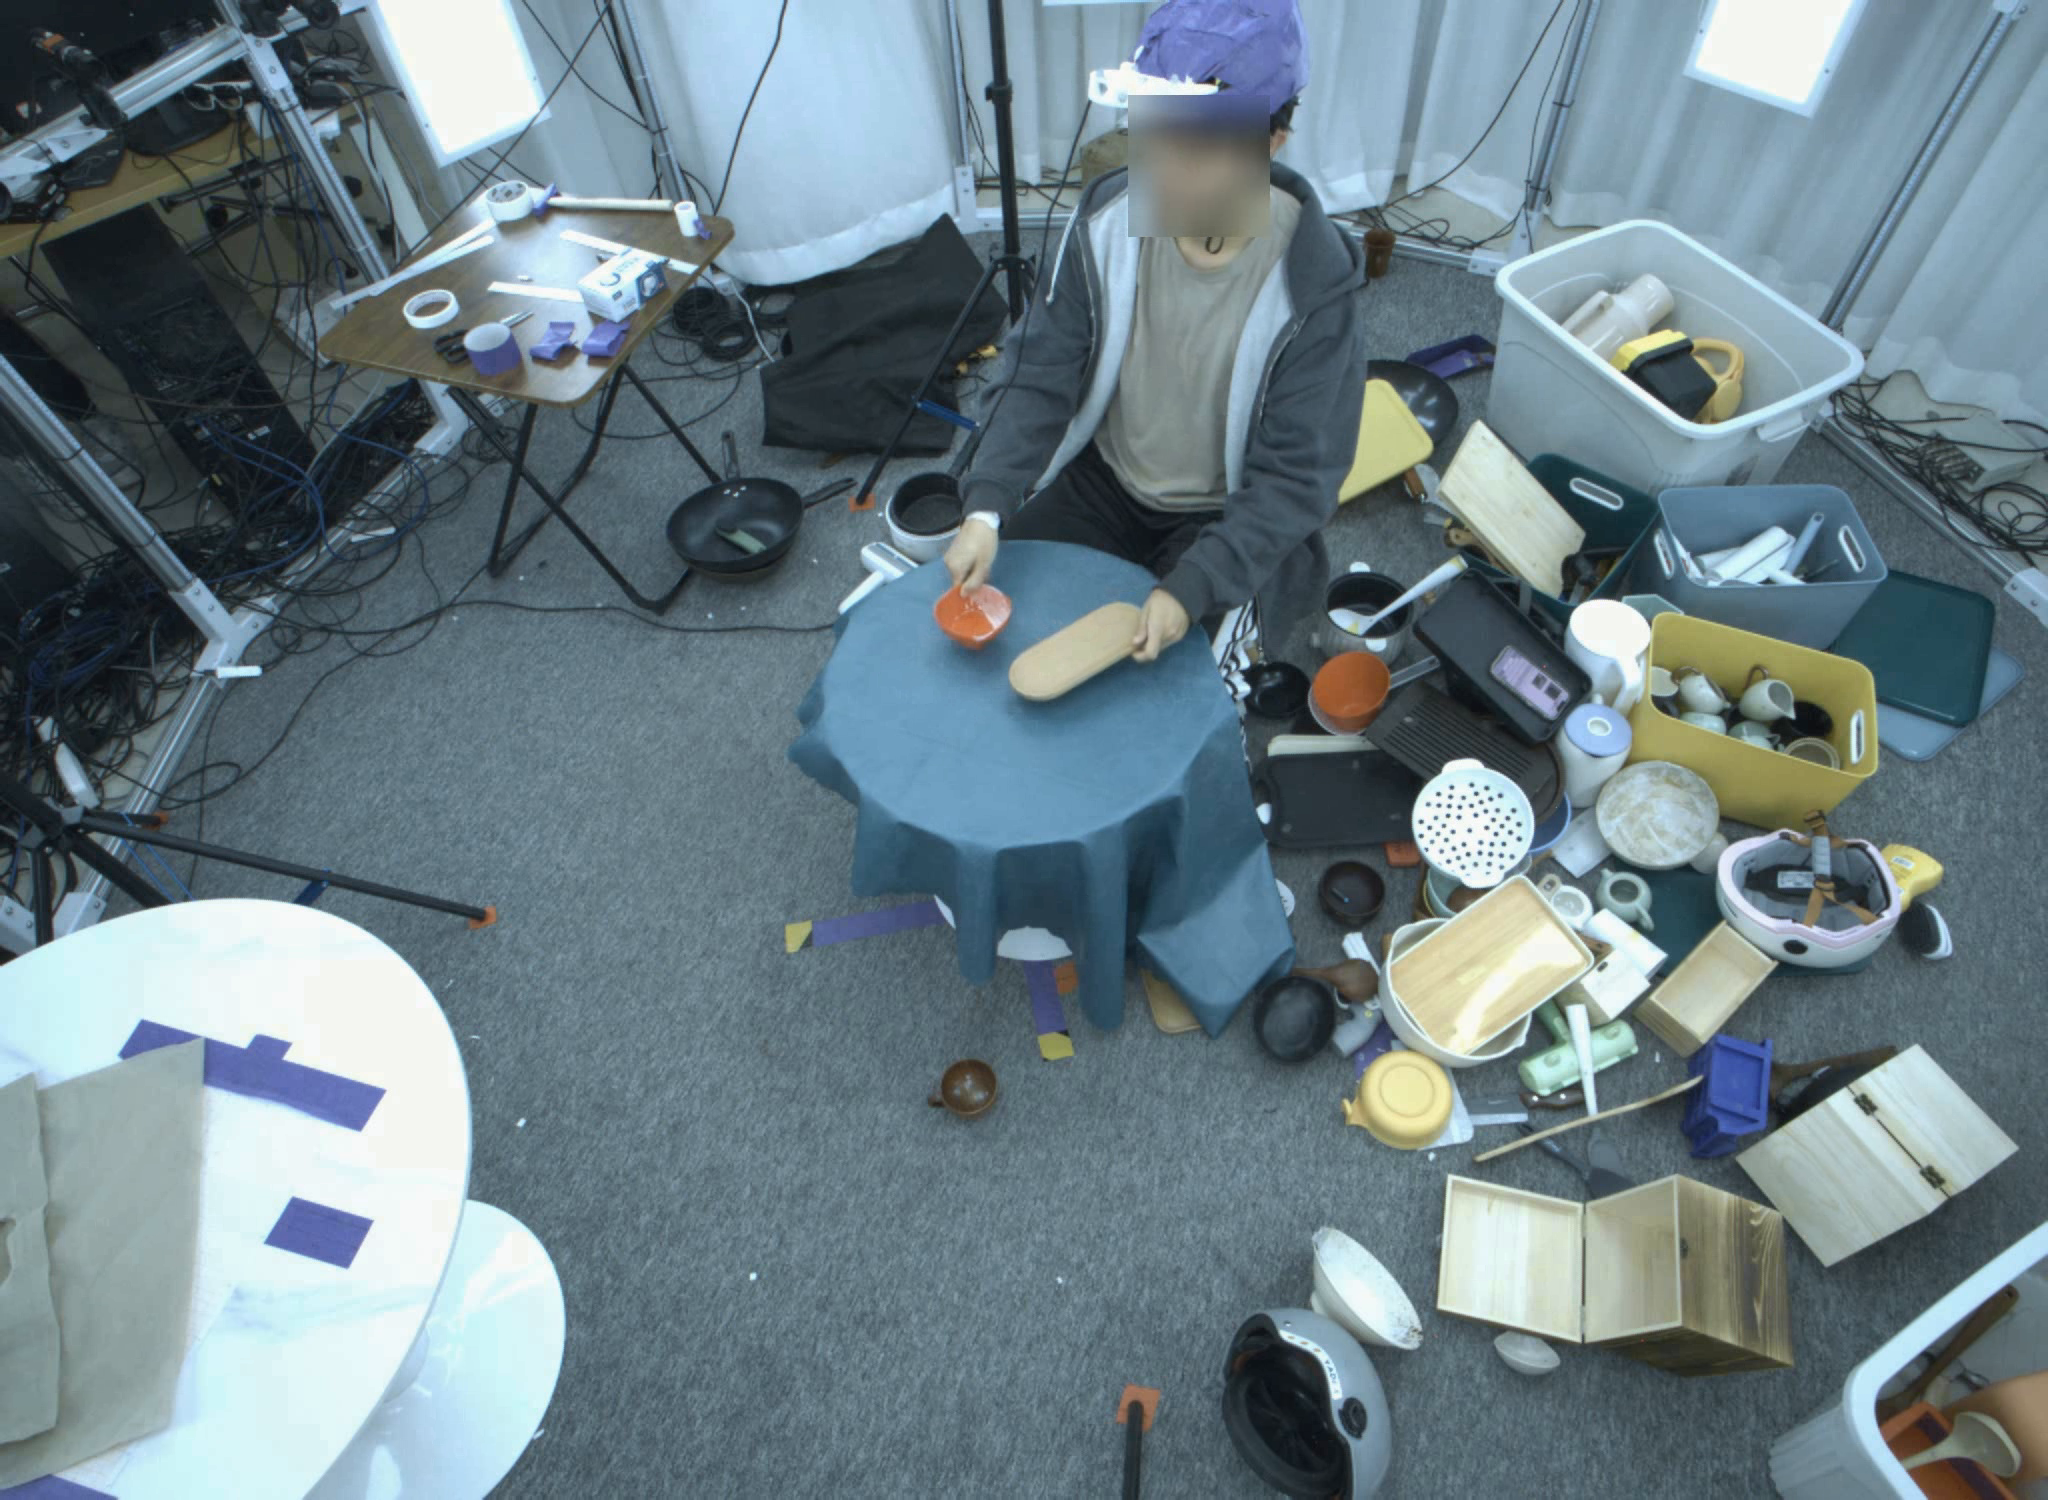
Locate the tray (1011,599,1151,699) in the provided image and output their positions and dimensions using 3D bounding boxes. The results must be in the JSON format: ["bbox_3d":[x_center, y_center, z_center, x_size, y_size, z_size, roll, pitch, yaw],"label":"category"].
[{"bbox_3d":[0.085,-0.150,1.829,0.232,0.020,0.099,-32,55,-13],"label":"tray"}]

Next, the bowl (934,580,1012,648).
[{"bbox_3d":[-0.077,-0.200,1.875,0.119,0.052,0.117,1,55,0],"label":"bowl"}]
